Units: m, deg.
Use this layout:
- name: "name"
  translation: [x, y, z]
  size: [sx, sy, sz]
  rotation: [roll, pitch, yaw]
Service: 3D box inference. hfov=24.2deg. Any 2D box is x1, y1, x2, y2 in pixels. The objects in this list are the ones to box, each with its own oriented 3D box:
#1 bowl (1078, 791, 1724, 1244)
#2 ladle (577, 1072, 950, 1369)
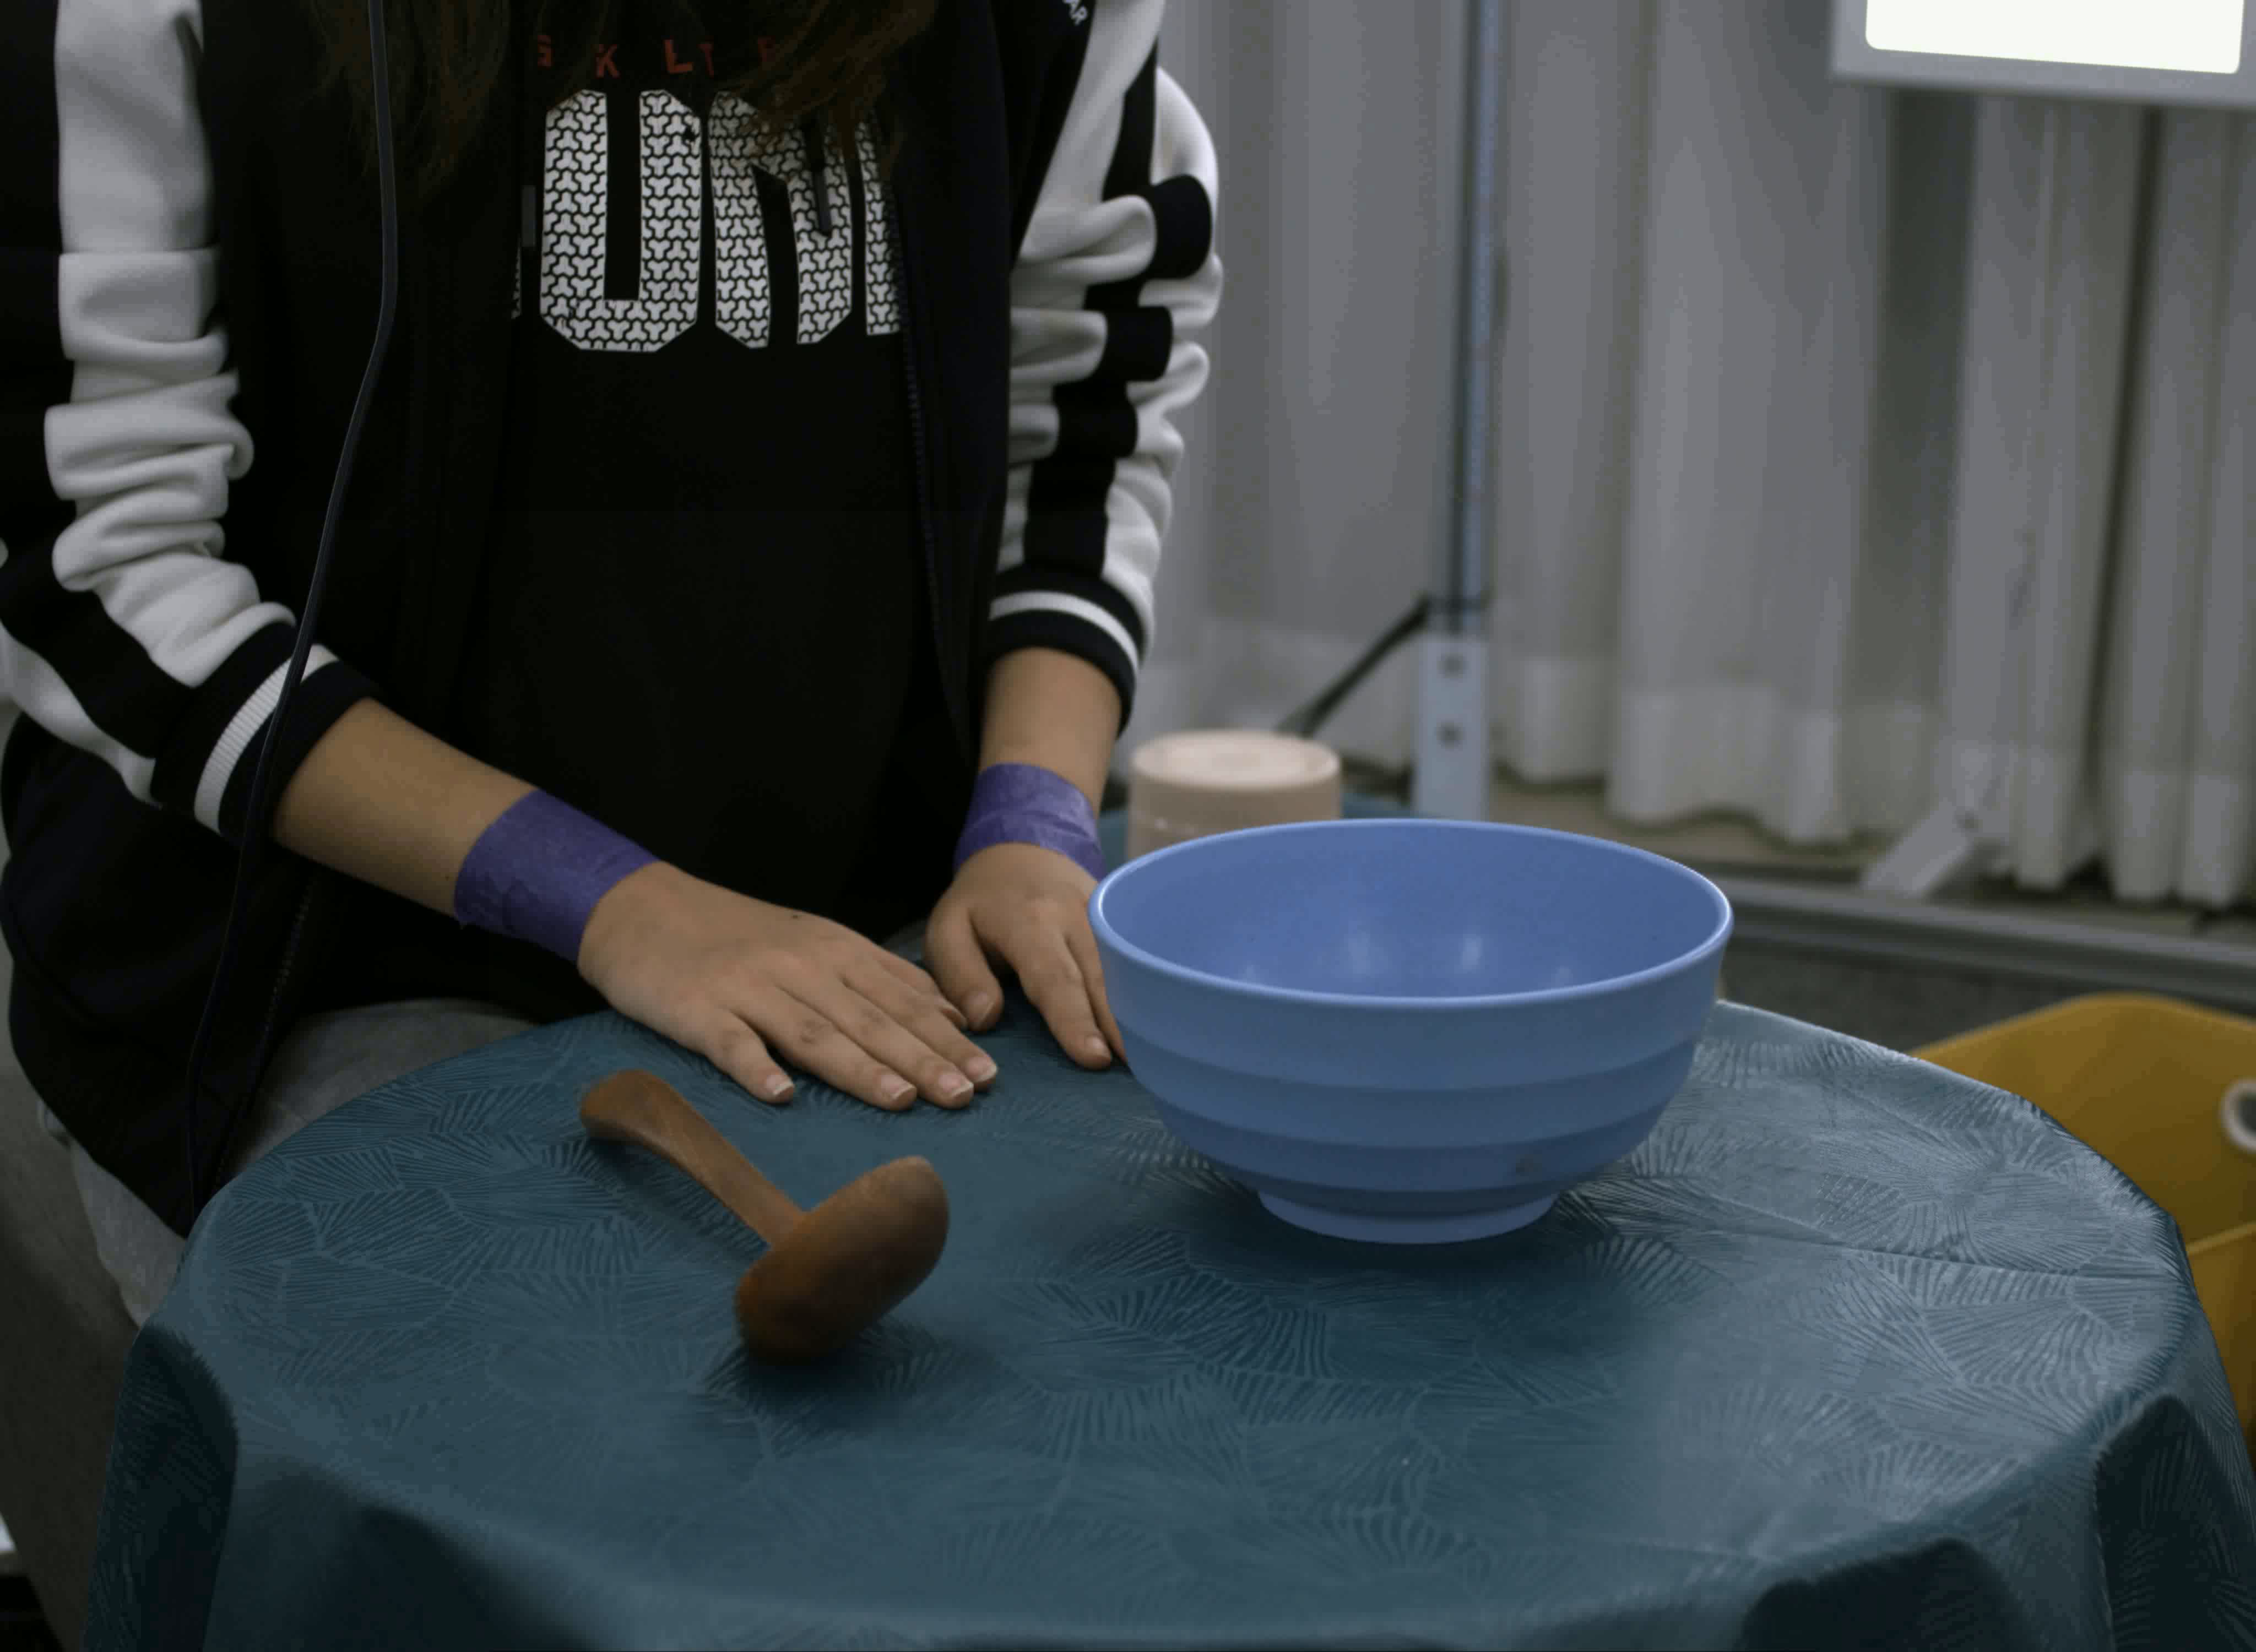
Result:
- name: "bowl"
  translation: [0.085, 0.066, 1.615]
  size: [0.196, 0.096, 0.195]
  rotation: [-2, 21, 1]
- name: "ladle"
  translation: [-0.123, 0.099, 1.554]
  size: [0.076, 0.066, 0.257]
  rotation: [-34, 26, -14]
